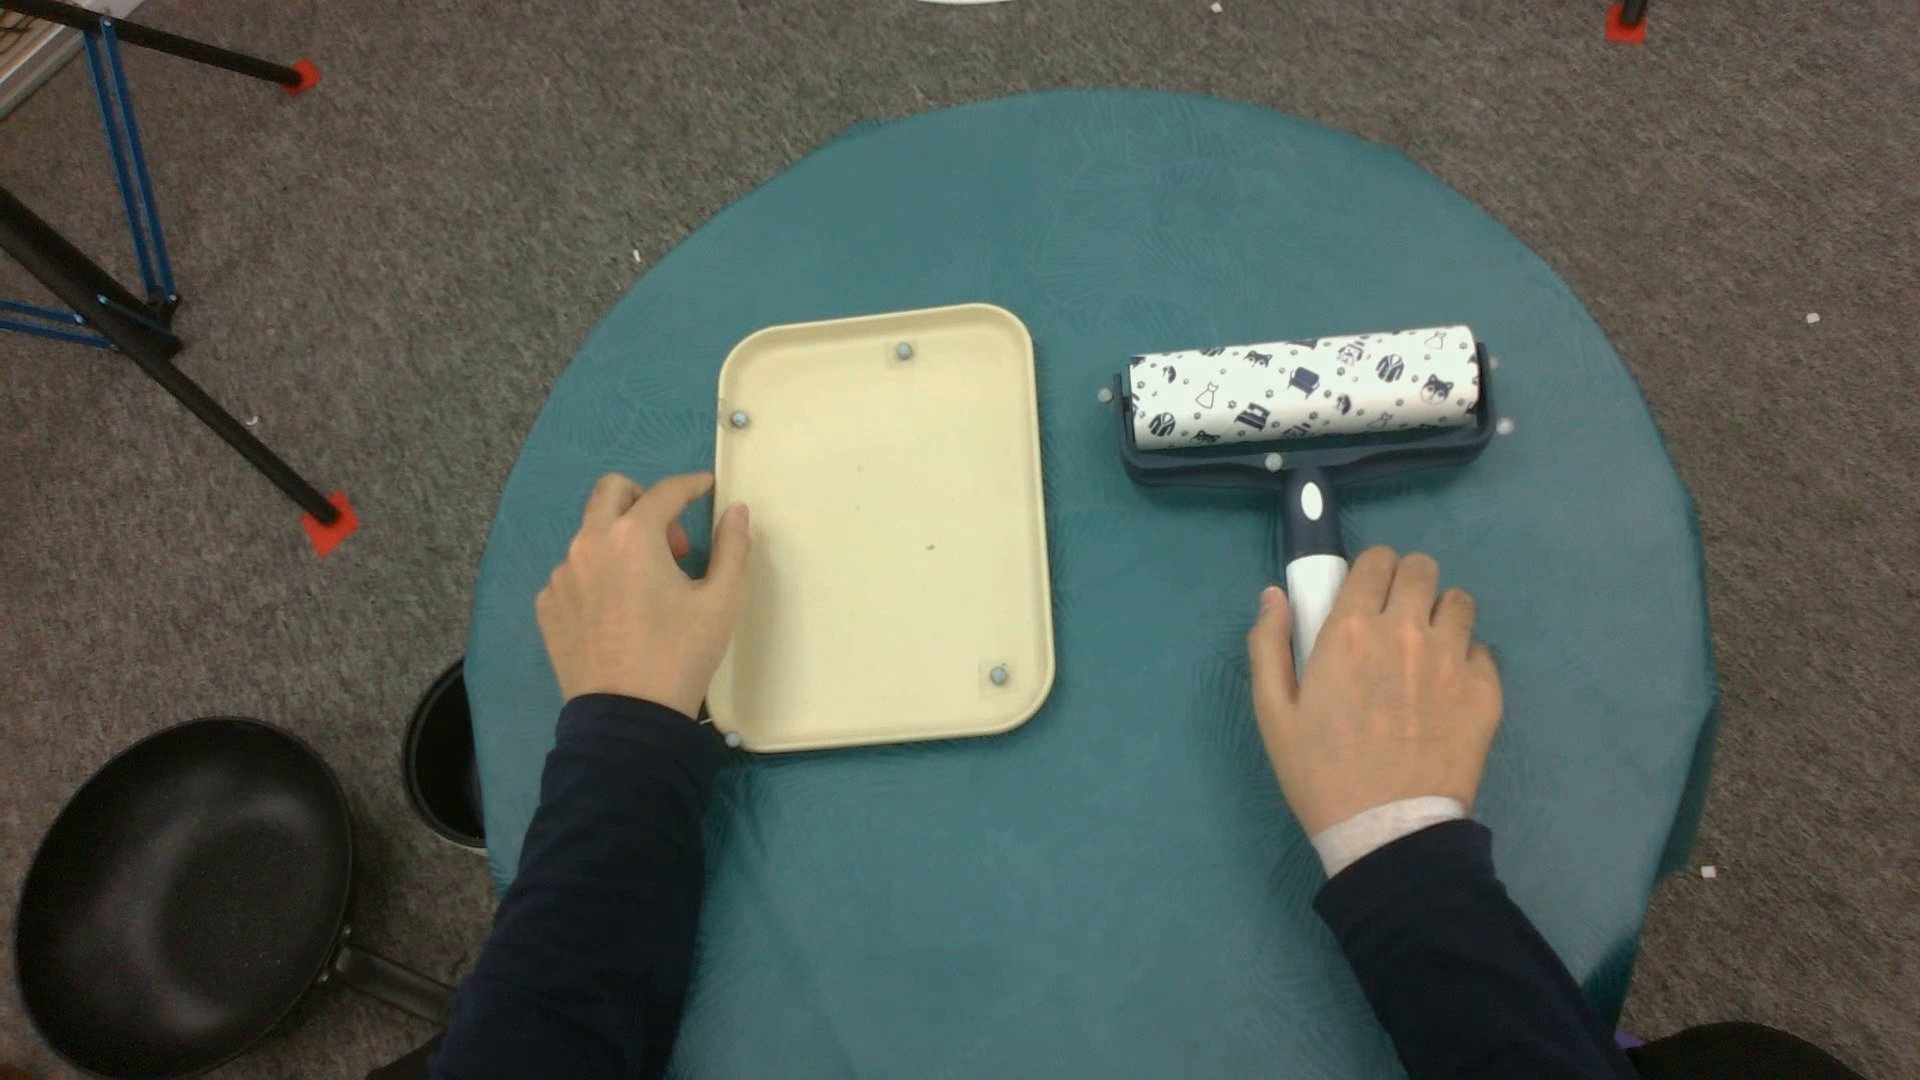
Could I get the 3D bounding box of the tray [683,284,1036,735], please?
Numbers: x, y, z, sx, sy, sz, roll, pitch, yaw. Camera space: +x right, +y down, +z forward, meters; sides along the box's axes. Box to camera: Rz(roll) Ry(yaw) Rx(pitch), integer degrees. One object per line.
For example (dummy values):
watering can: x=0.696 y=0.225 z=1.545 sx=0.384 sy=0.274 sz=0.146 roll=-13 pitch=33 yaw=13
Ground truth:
tray: x=-0.052 y=-0.020 z=0.693 sx=0.171 sy=0.017 sz=0.240 roll=-5 pitch=65 yaw=5

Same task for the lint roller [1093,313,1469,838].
lint roller: x=0.158 y=0.011 z=0.636 sx=0.176 sy=0.050 sz=0.248 roll=-5 pitch=67 yaw=5
